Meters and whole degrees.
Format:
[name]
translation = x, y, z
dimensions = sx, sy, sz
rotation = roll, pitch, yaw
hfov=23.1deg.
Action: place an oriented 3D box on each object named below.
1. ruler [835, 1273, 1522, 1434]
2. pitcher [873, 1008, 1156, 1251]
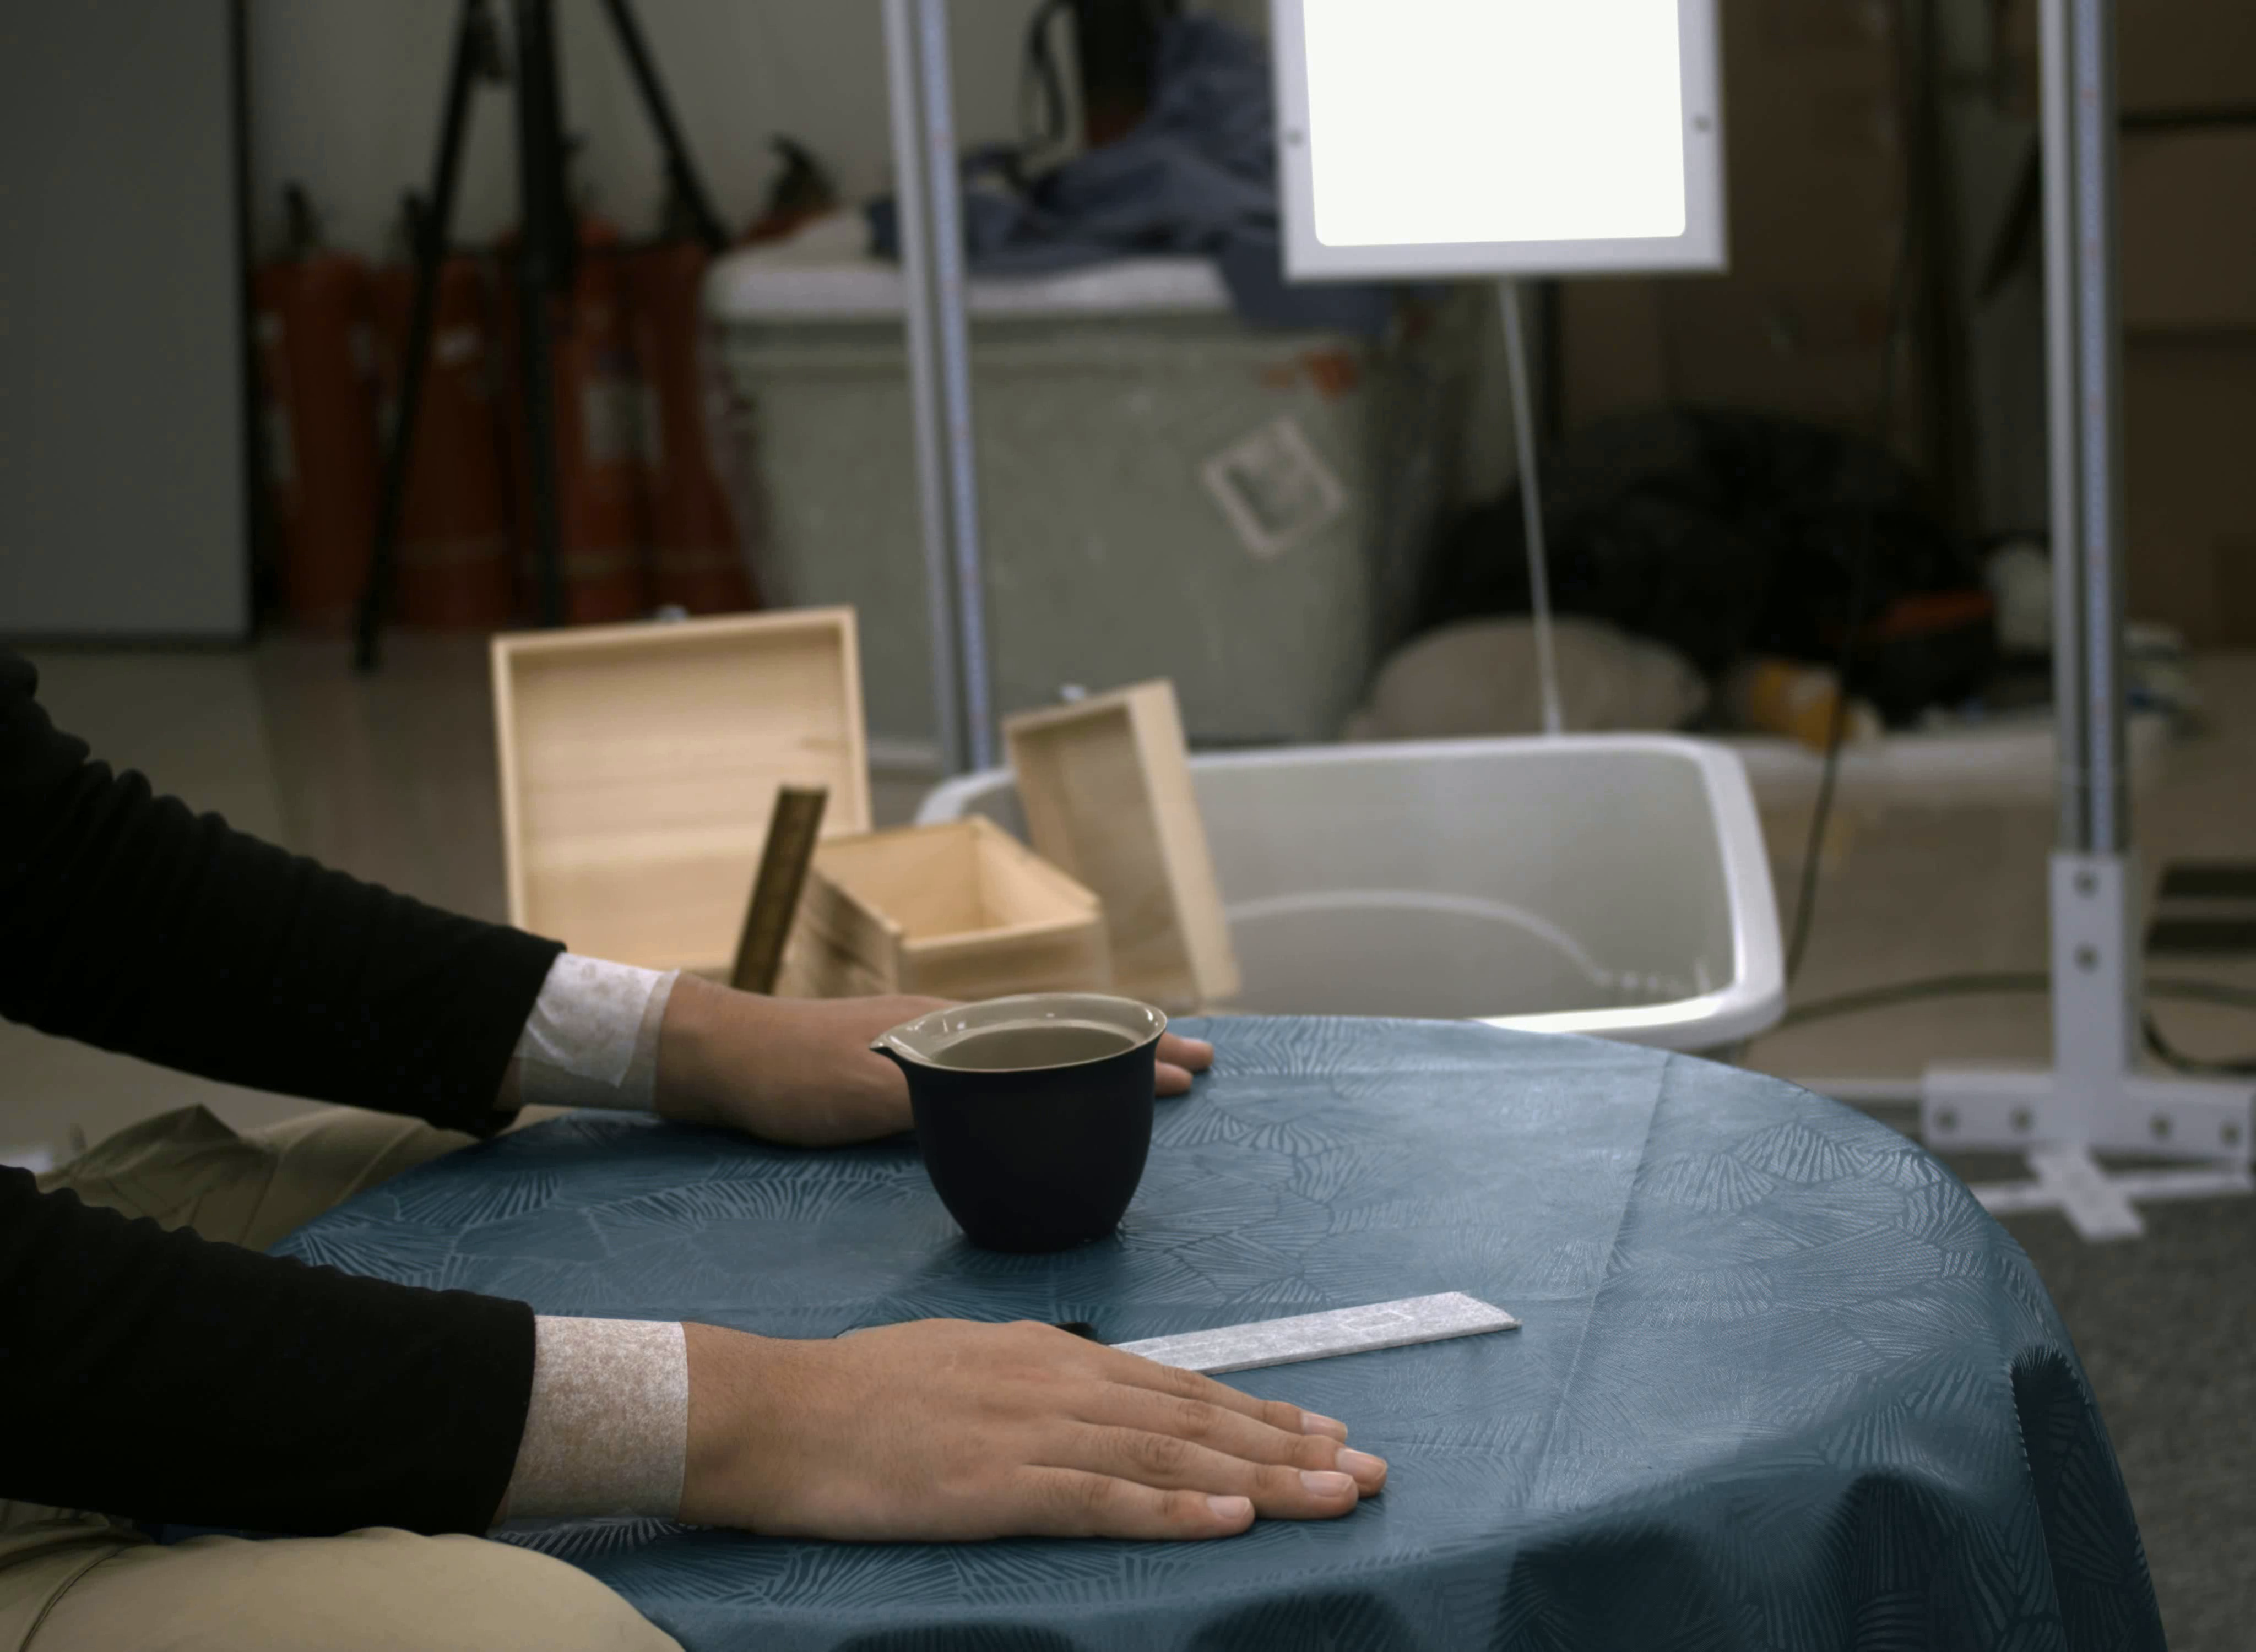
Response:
[ruler]
translation = 0.015, 0.157, 1.721
dimensions = 0.216, 0.024, 0.038
rotation = -9, 20, -9
[pitcher]
translation = -0.036, 0.102, 1.858
dimensions = 0.096, 0.071, 0.083
rotation = -2, 15, 11
